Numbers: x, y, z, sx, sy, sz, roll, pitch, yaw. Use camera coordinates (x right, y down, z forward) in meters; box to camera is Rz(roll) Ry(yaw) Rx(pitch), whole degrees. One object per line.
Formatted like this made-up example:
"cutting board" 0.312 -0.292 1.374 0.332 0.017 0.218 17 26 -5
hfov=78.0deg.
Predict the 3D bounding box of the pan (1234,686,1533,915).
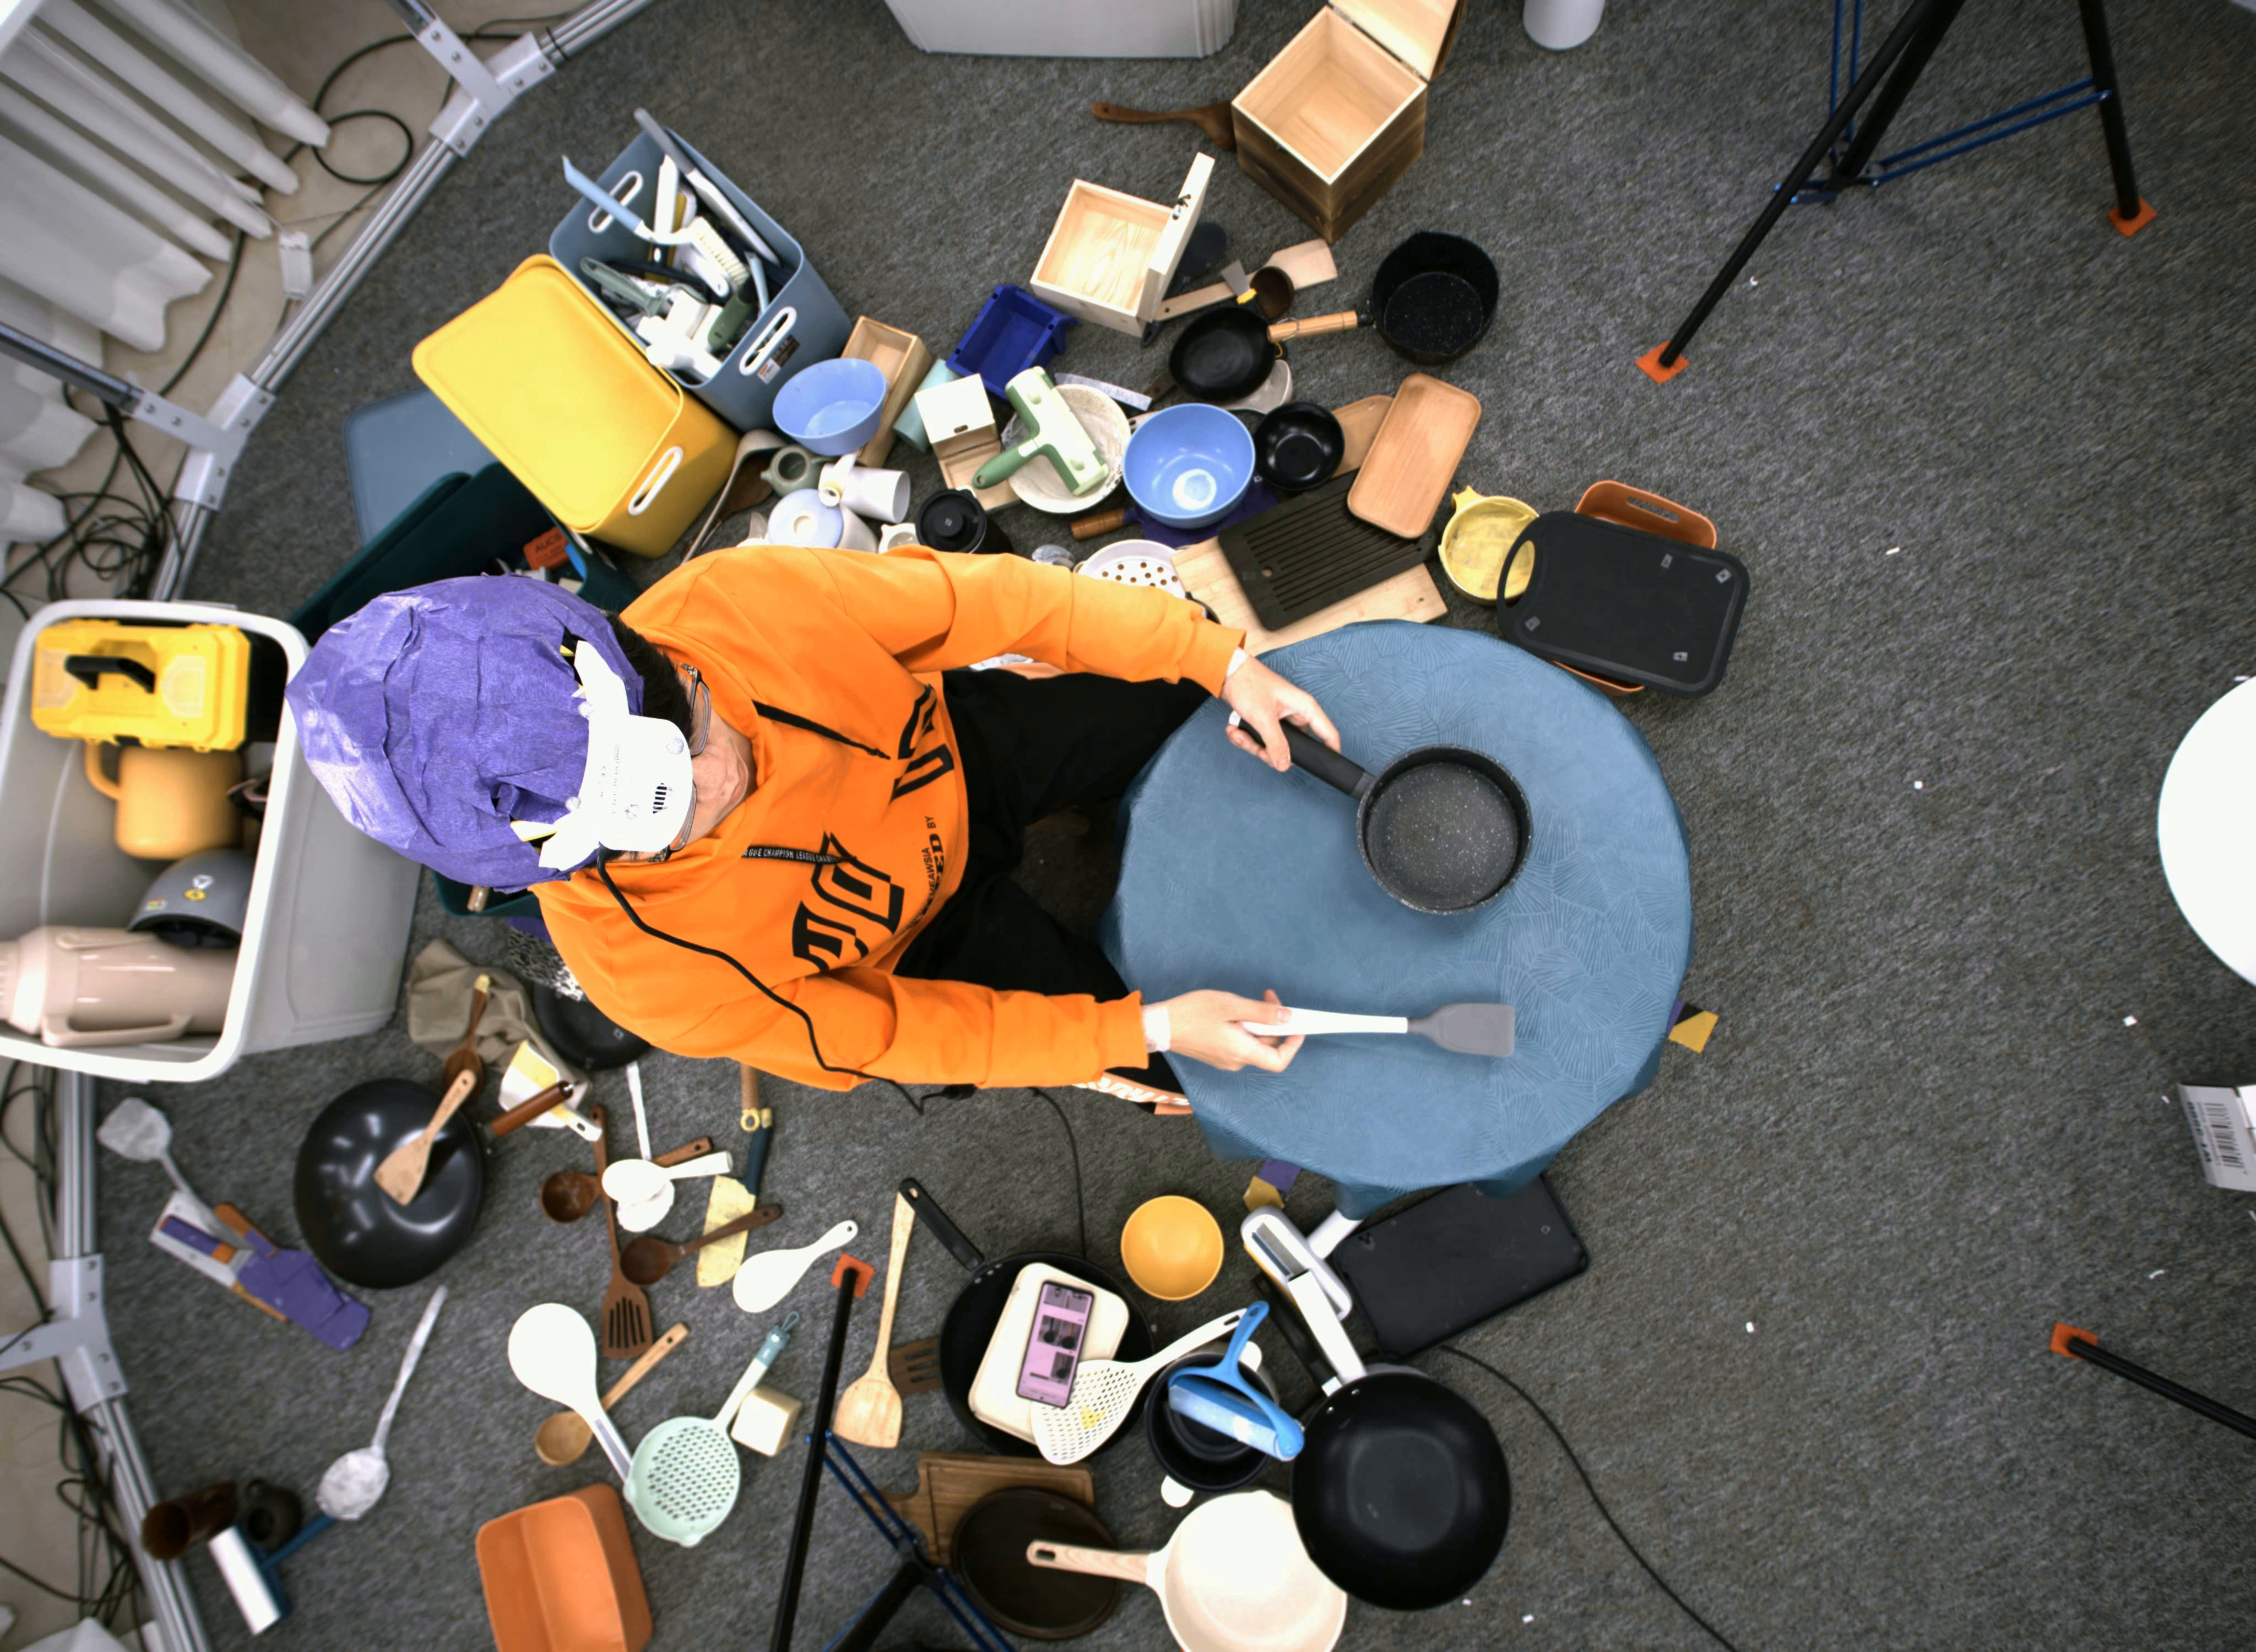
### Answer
"pan" 0.253 -0.038 1.406 0.328 0.086 0.172 33 92 10

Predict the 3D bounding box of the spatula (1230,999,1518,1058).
"spatula" 0.247 0.199 1.397 0.288 0.032 0.058 1 79 5
